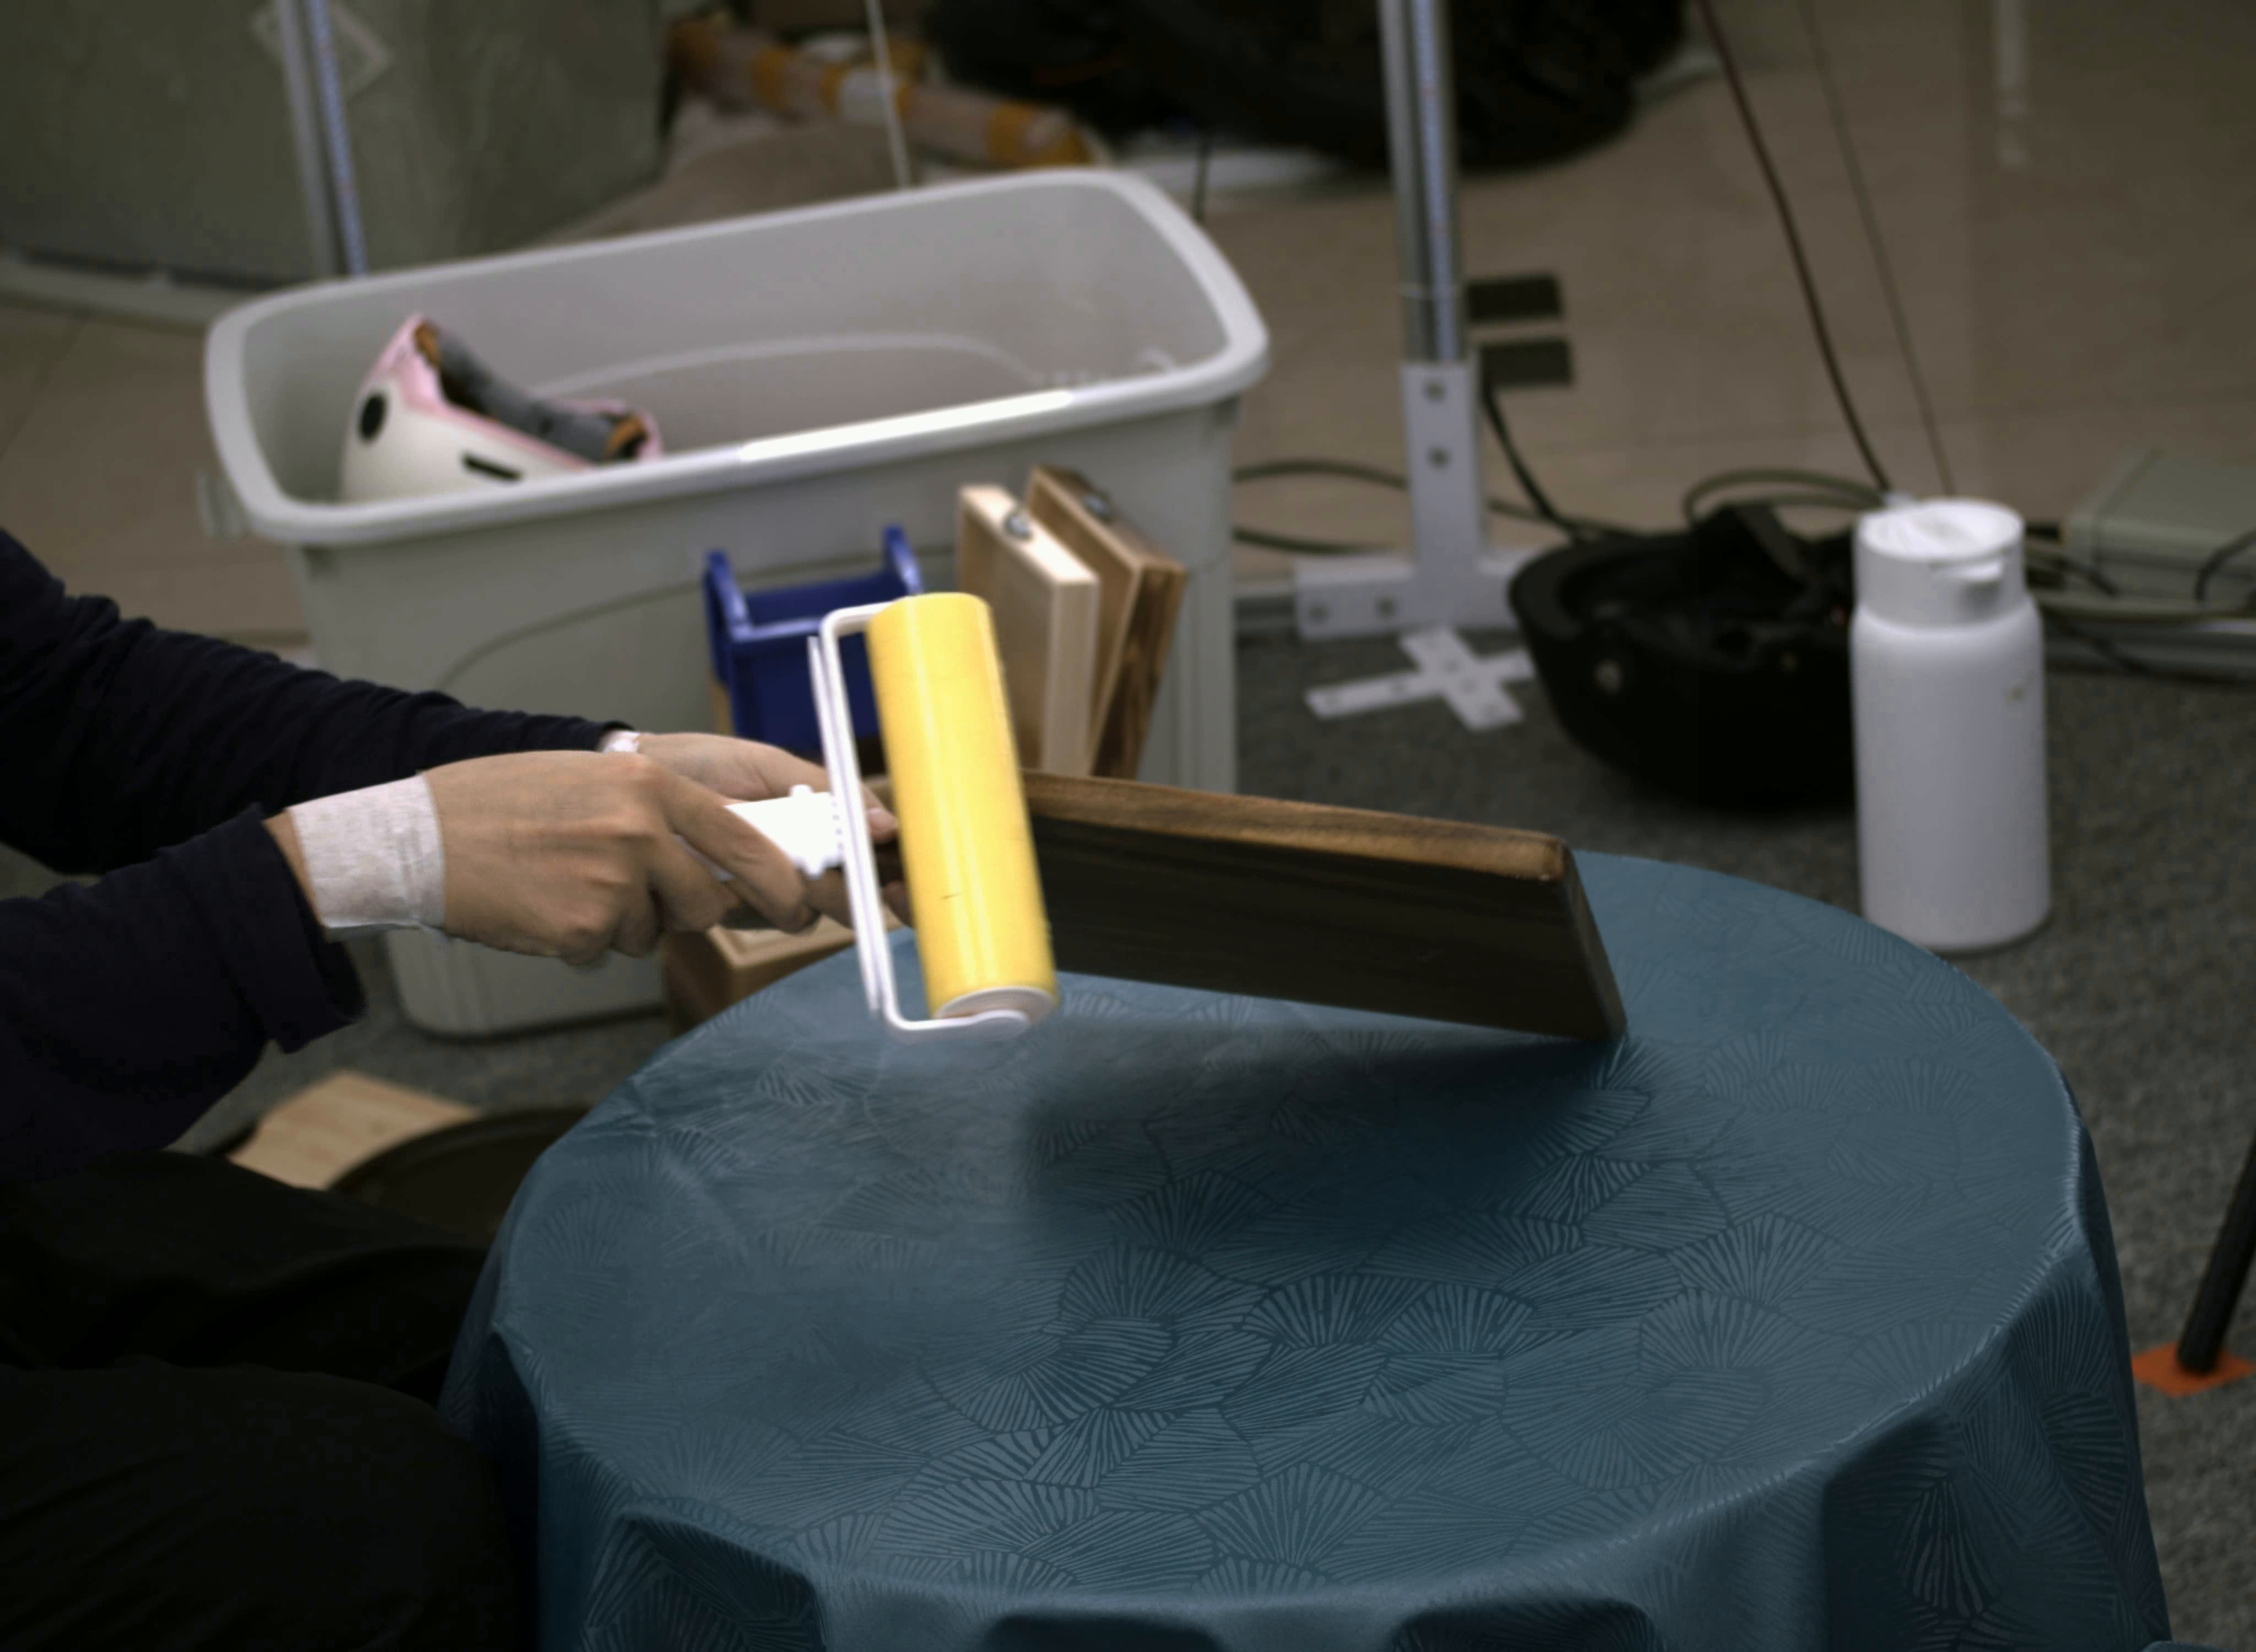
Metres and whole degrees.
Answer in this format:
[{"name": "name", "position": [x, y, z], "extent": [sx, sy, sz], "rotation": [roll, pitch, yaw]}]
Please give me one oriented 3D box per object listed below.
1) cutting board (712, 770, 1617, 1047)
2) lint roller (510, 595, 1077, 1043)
[{"name": "cutting board", "position": [0.007, 0.025, 2.173], "extent": [0.351, 0.203, 0.023], "rotation": [7, 72, 14]}, {"name": "lint roller", "position": [-0.126, 0.003, 2.045], "extent": [0.191, 0.052, 0.172], "rotation": [-5, 65, -17]}]
